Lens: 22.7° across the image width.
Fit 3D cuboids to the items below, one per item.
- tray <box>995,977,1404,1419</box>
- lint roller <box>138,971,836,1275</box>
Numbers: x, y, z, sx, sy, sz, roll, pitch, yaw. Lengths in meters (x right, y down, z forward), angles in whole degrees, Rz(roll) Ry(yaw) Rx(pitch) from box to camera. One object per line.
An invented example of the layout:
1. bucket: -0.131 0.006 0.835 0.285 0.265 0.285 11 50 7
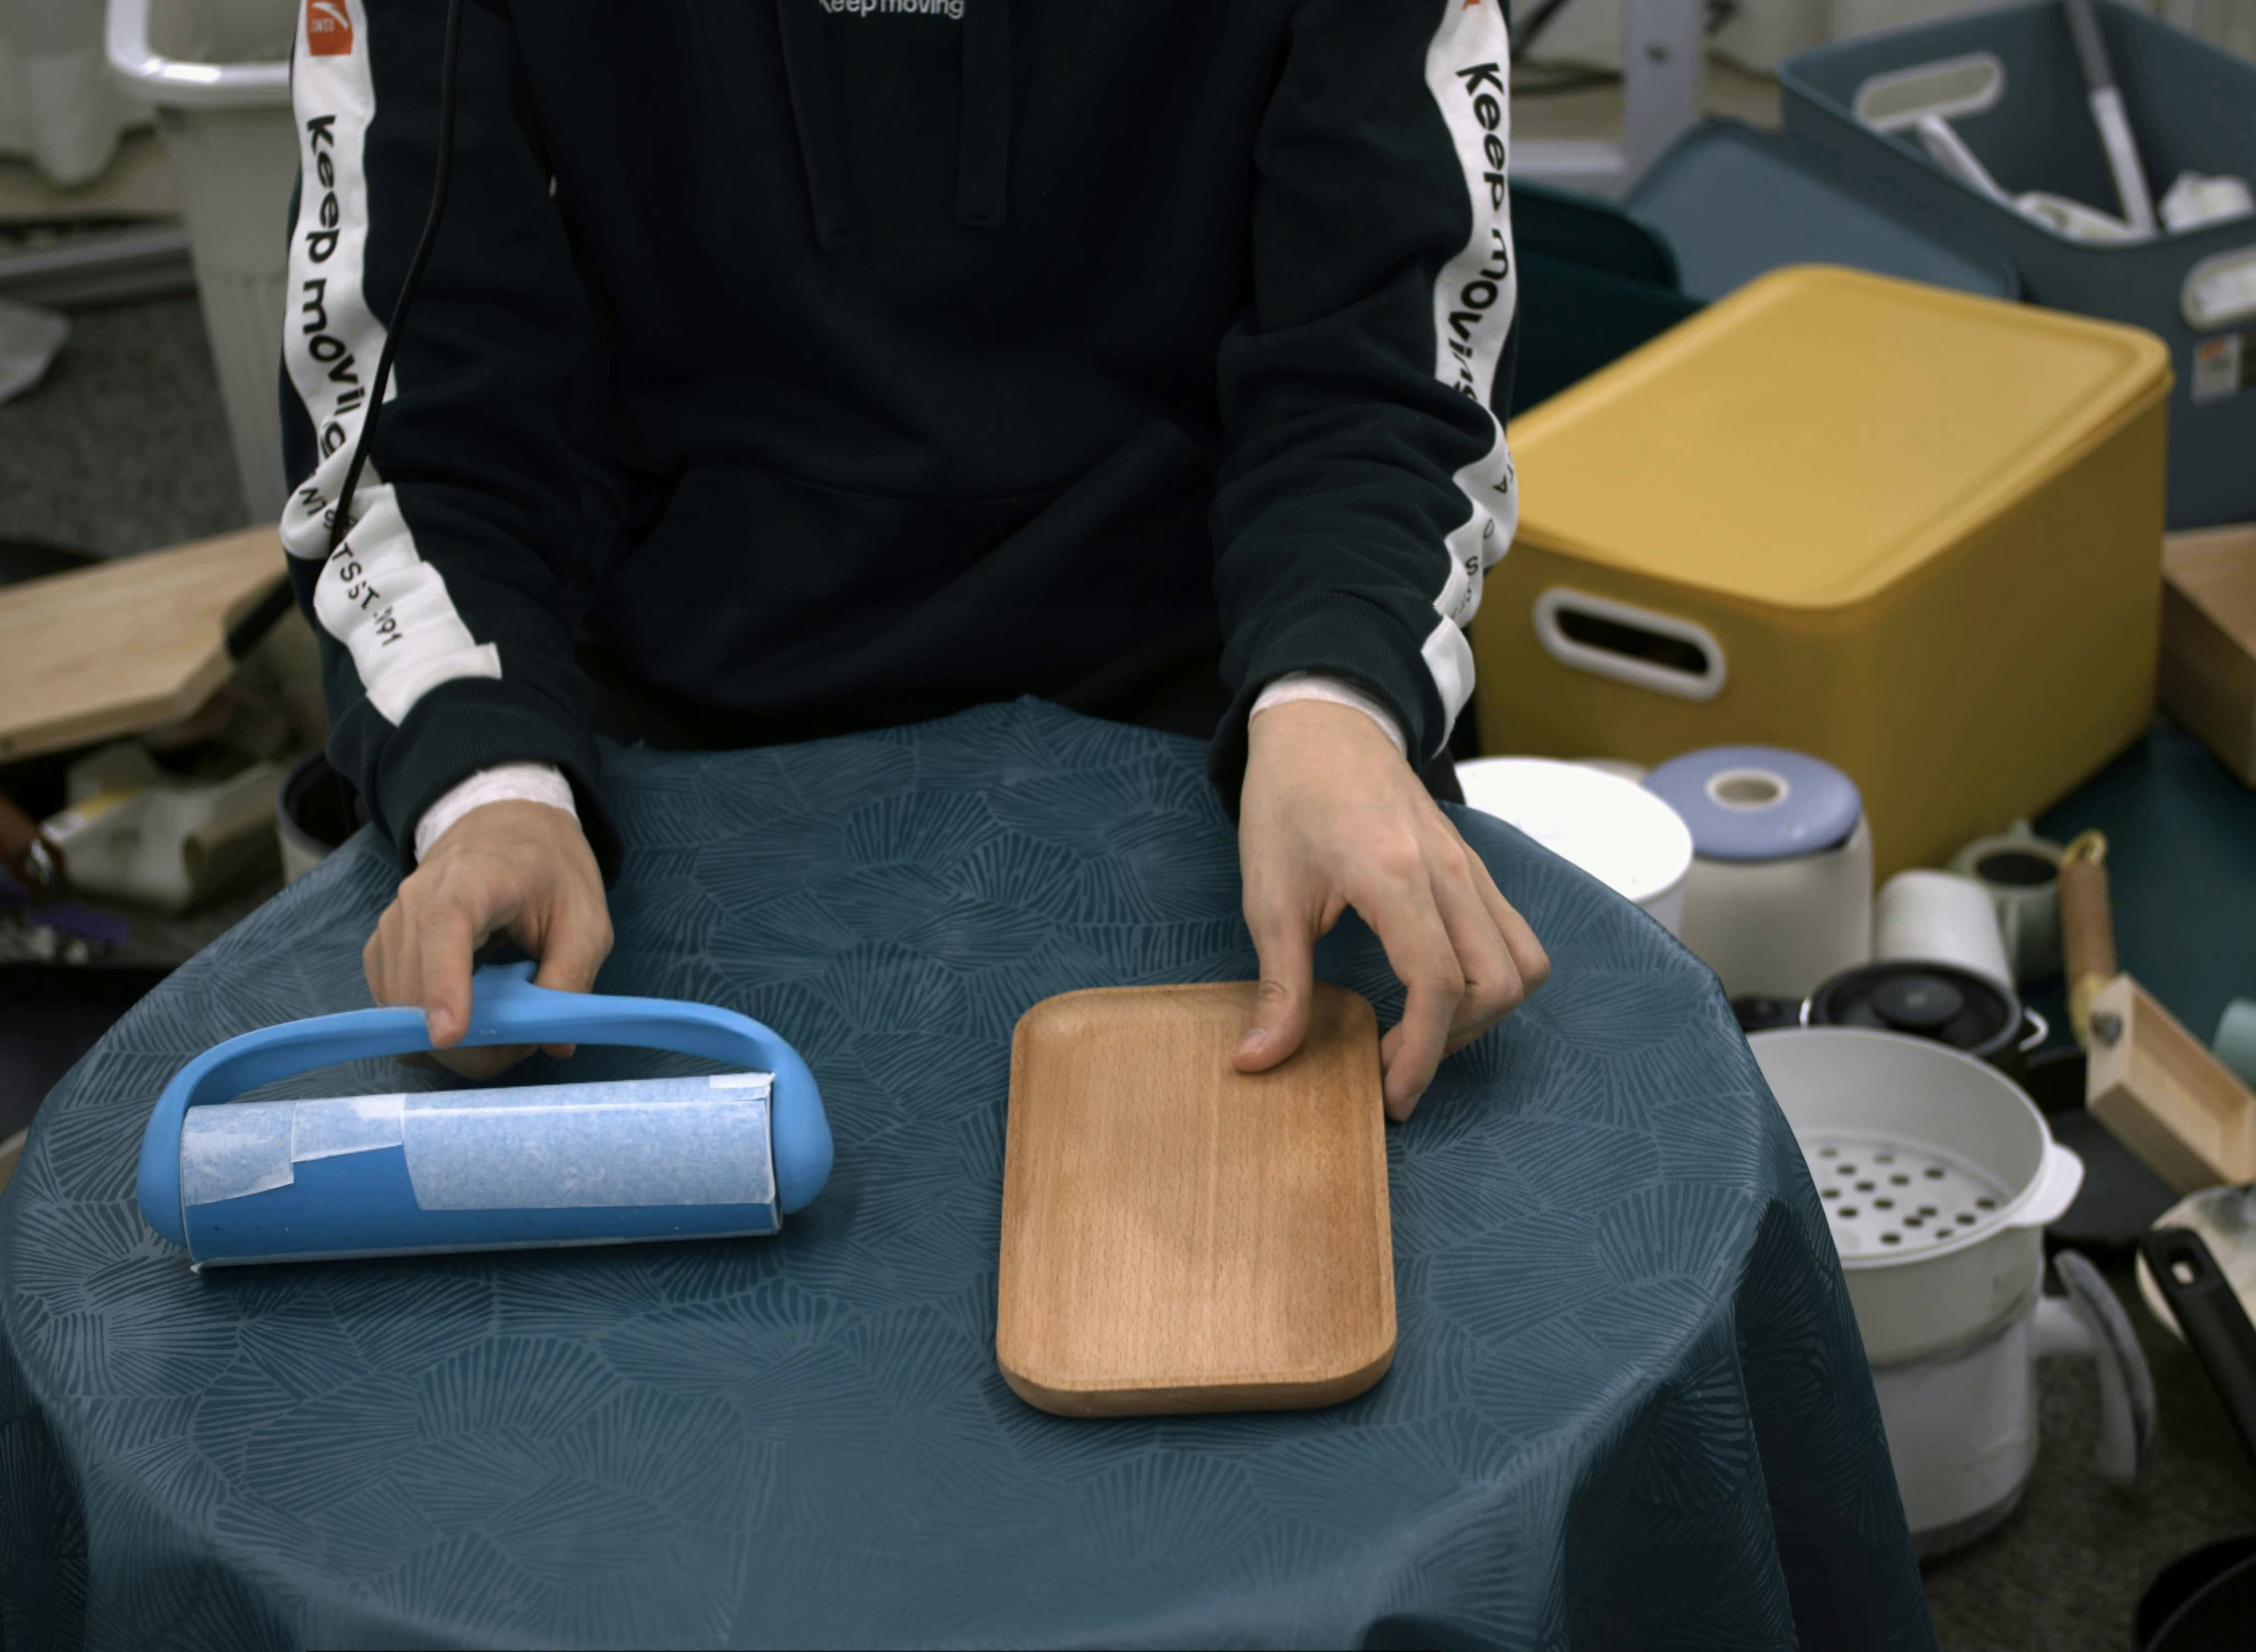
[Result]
1. tray: 0.024 0.119 1.843 0.130 0.022 0.254 0 27 2
2. lint roller: -0.214 0.085 1.890 0.228 0.067 0.183 -6 29 -2
